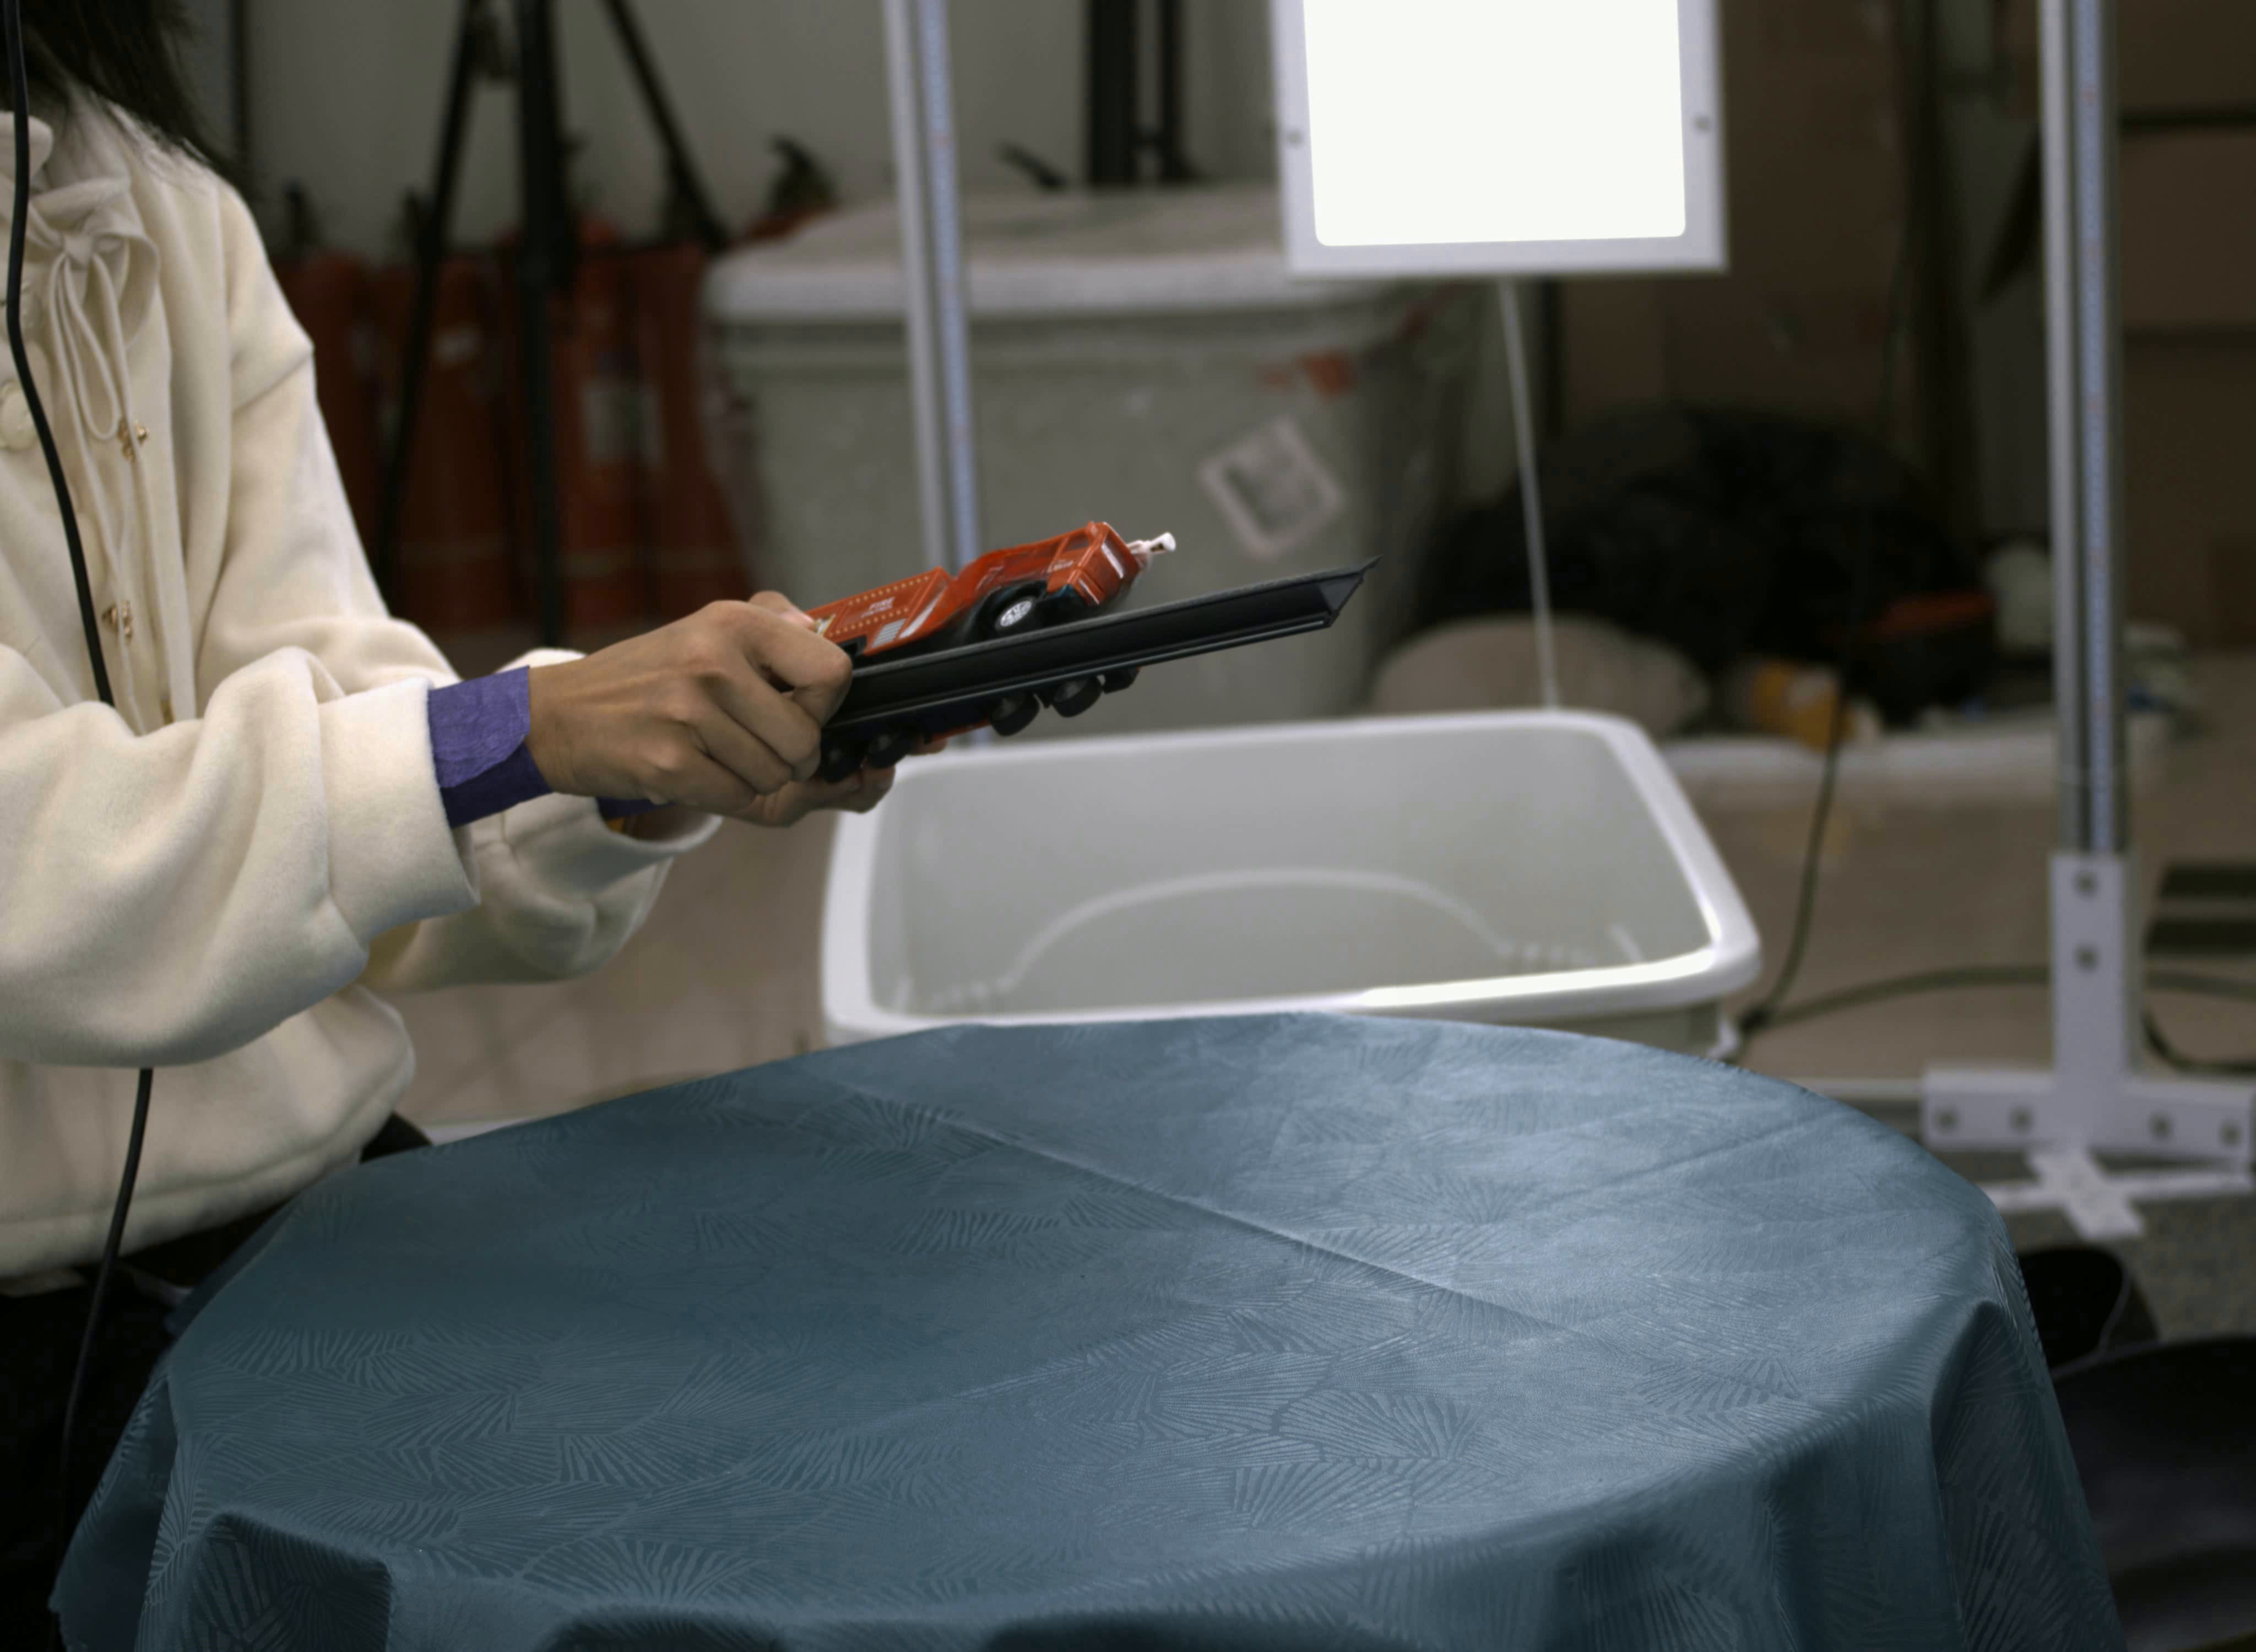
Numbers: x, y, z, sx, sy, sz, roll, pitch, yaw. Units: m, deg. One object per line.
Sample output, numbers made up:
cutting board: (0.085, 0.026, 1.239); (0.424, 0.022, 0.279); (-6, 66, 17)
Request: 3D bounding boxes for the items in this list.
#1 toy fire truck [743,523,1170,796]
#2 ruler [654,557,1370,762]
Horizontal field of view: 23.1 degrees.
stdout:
toy fire truck: (-0.059, -0.059, 1.925); (0.172, 0.053, 0.069); (-17, 33, 41)
ruler: (-0.045, -0.059, 1.840); (0.320, 0.017, 0.038); (-10, 29, 44)
